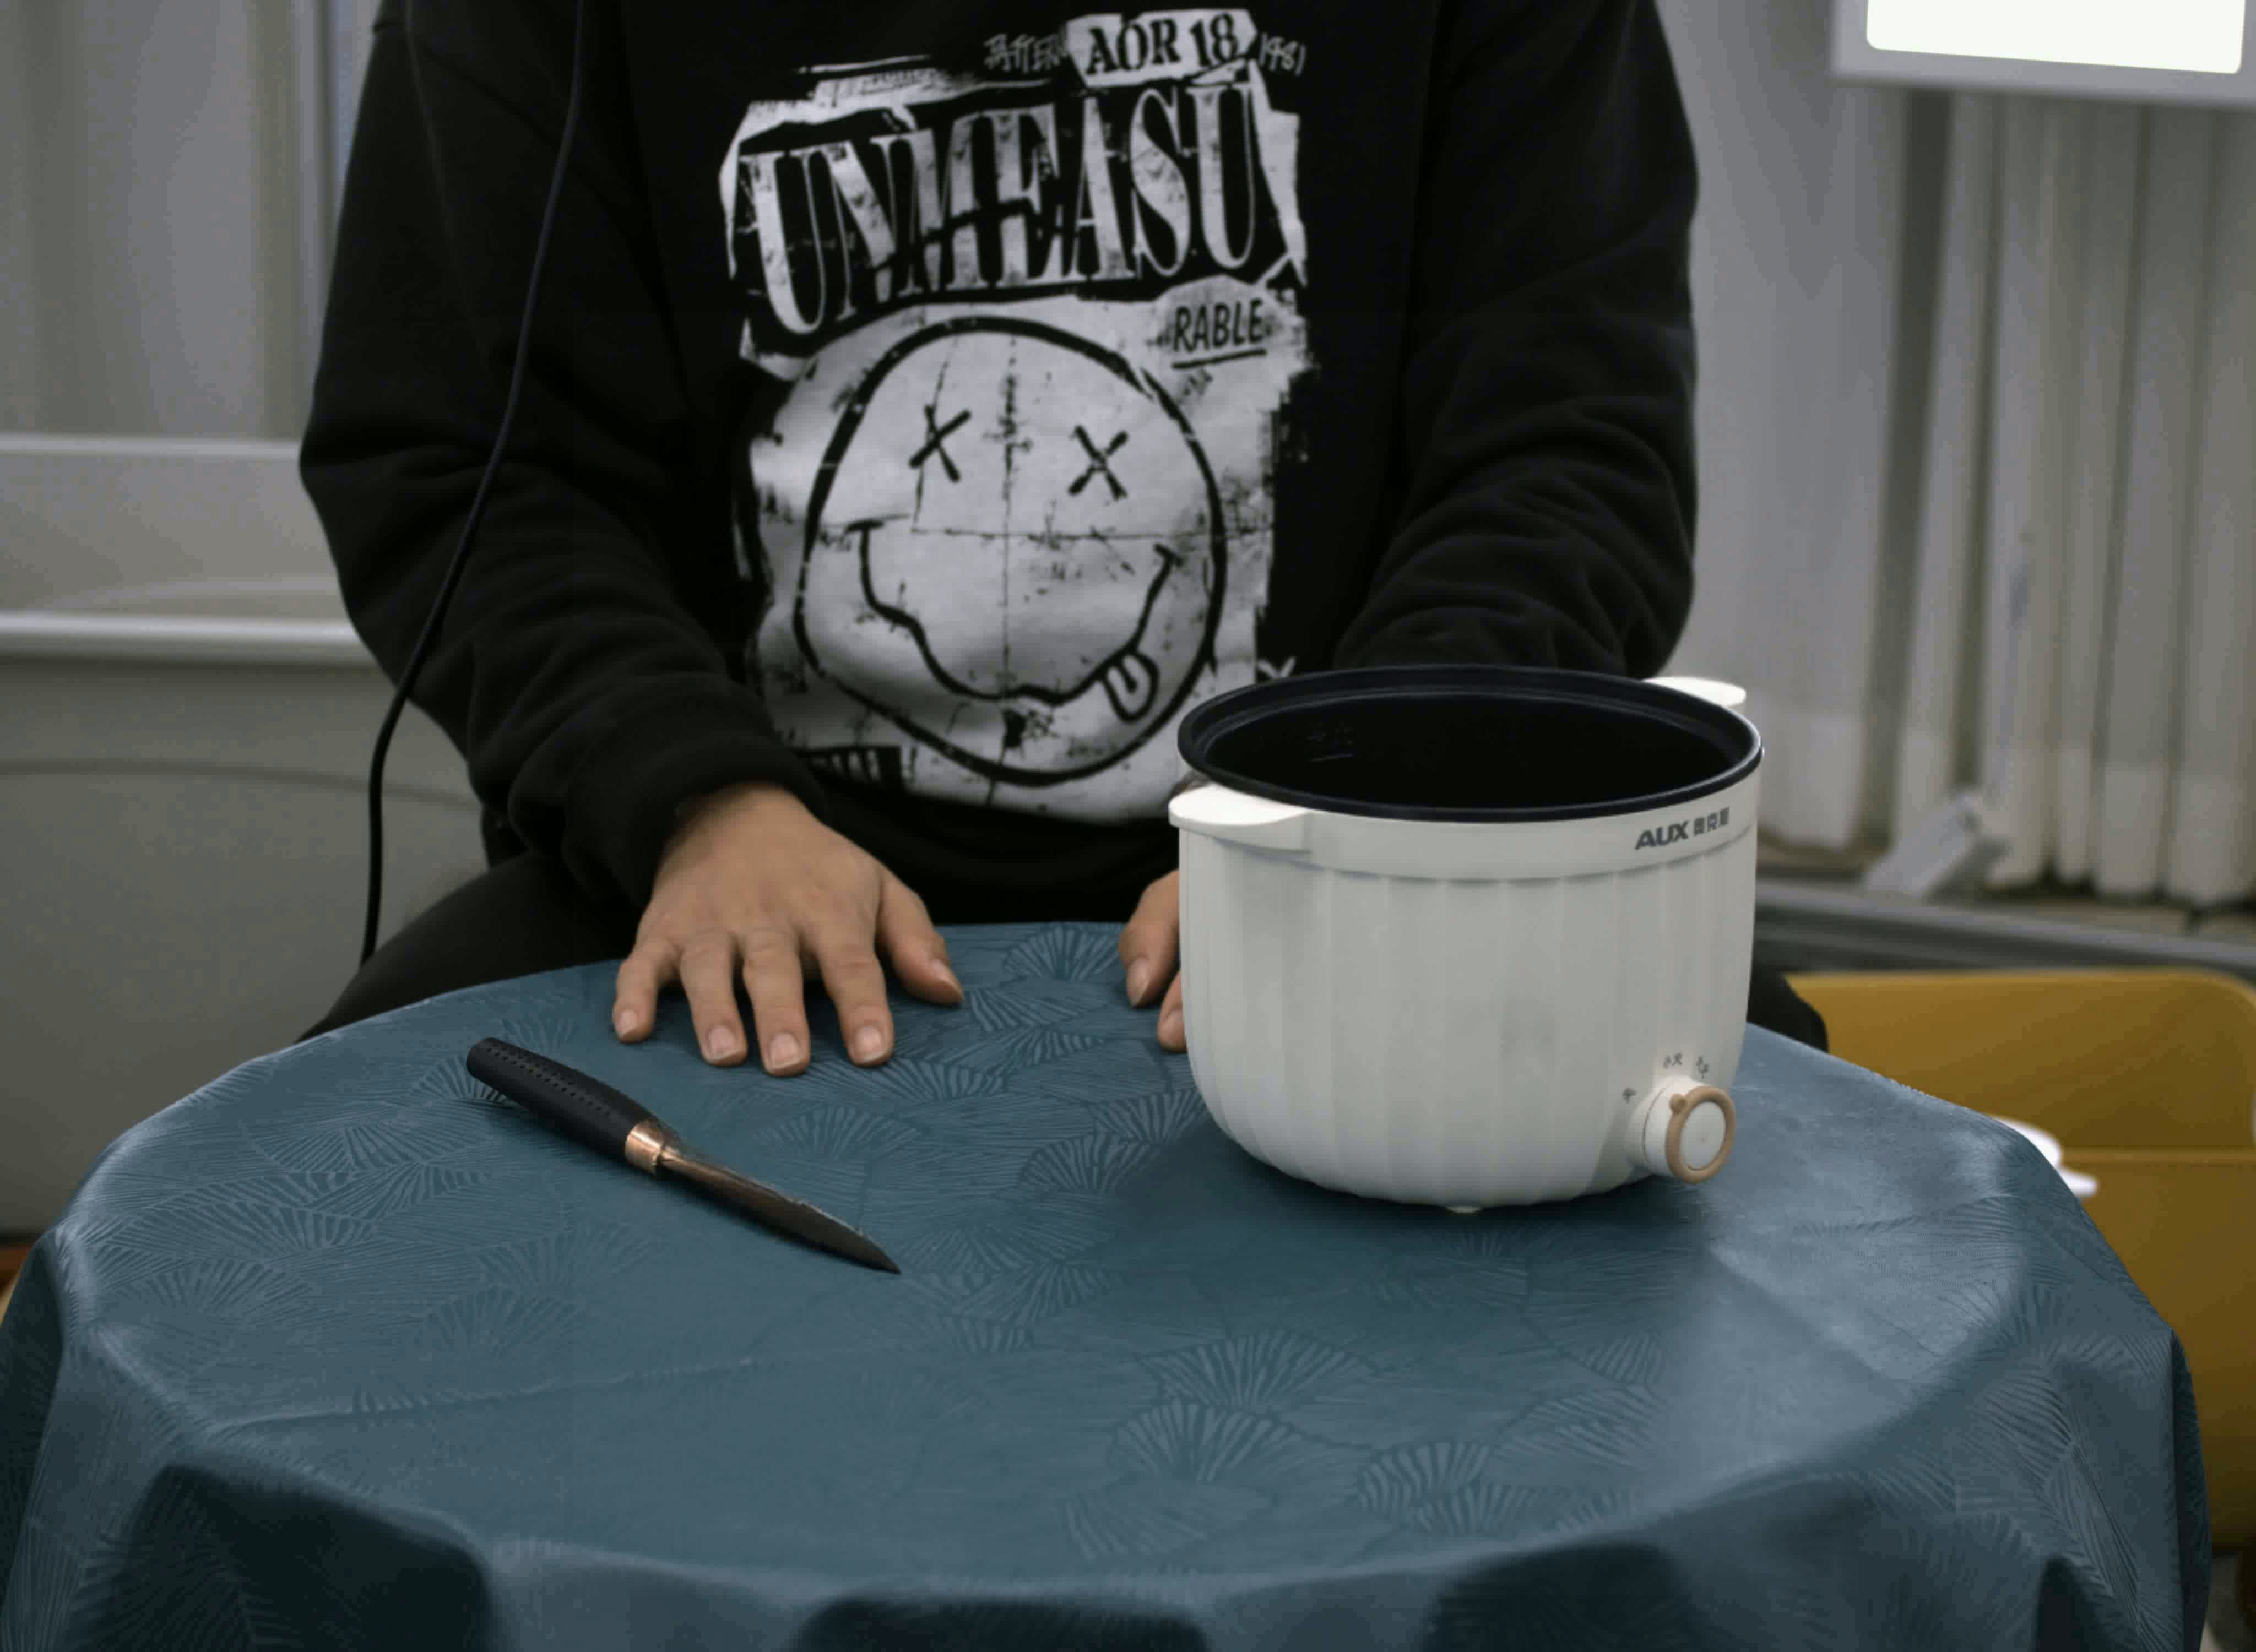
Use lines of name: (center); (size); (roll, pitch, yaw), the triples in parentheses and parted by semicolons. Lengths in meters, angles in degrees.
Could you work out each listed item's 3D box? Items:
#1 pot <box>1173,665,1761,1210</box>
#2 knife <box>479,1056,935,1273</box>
pot: (0.110, 0.036, 1.642); (0.241, 0.144, 0.188); (-16, 19, -42)
knife: (-0.134, 0.105, 1.630); (0.026, 0.017, 0.222); (6, 9, -42)
